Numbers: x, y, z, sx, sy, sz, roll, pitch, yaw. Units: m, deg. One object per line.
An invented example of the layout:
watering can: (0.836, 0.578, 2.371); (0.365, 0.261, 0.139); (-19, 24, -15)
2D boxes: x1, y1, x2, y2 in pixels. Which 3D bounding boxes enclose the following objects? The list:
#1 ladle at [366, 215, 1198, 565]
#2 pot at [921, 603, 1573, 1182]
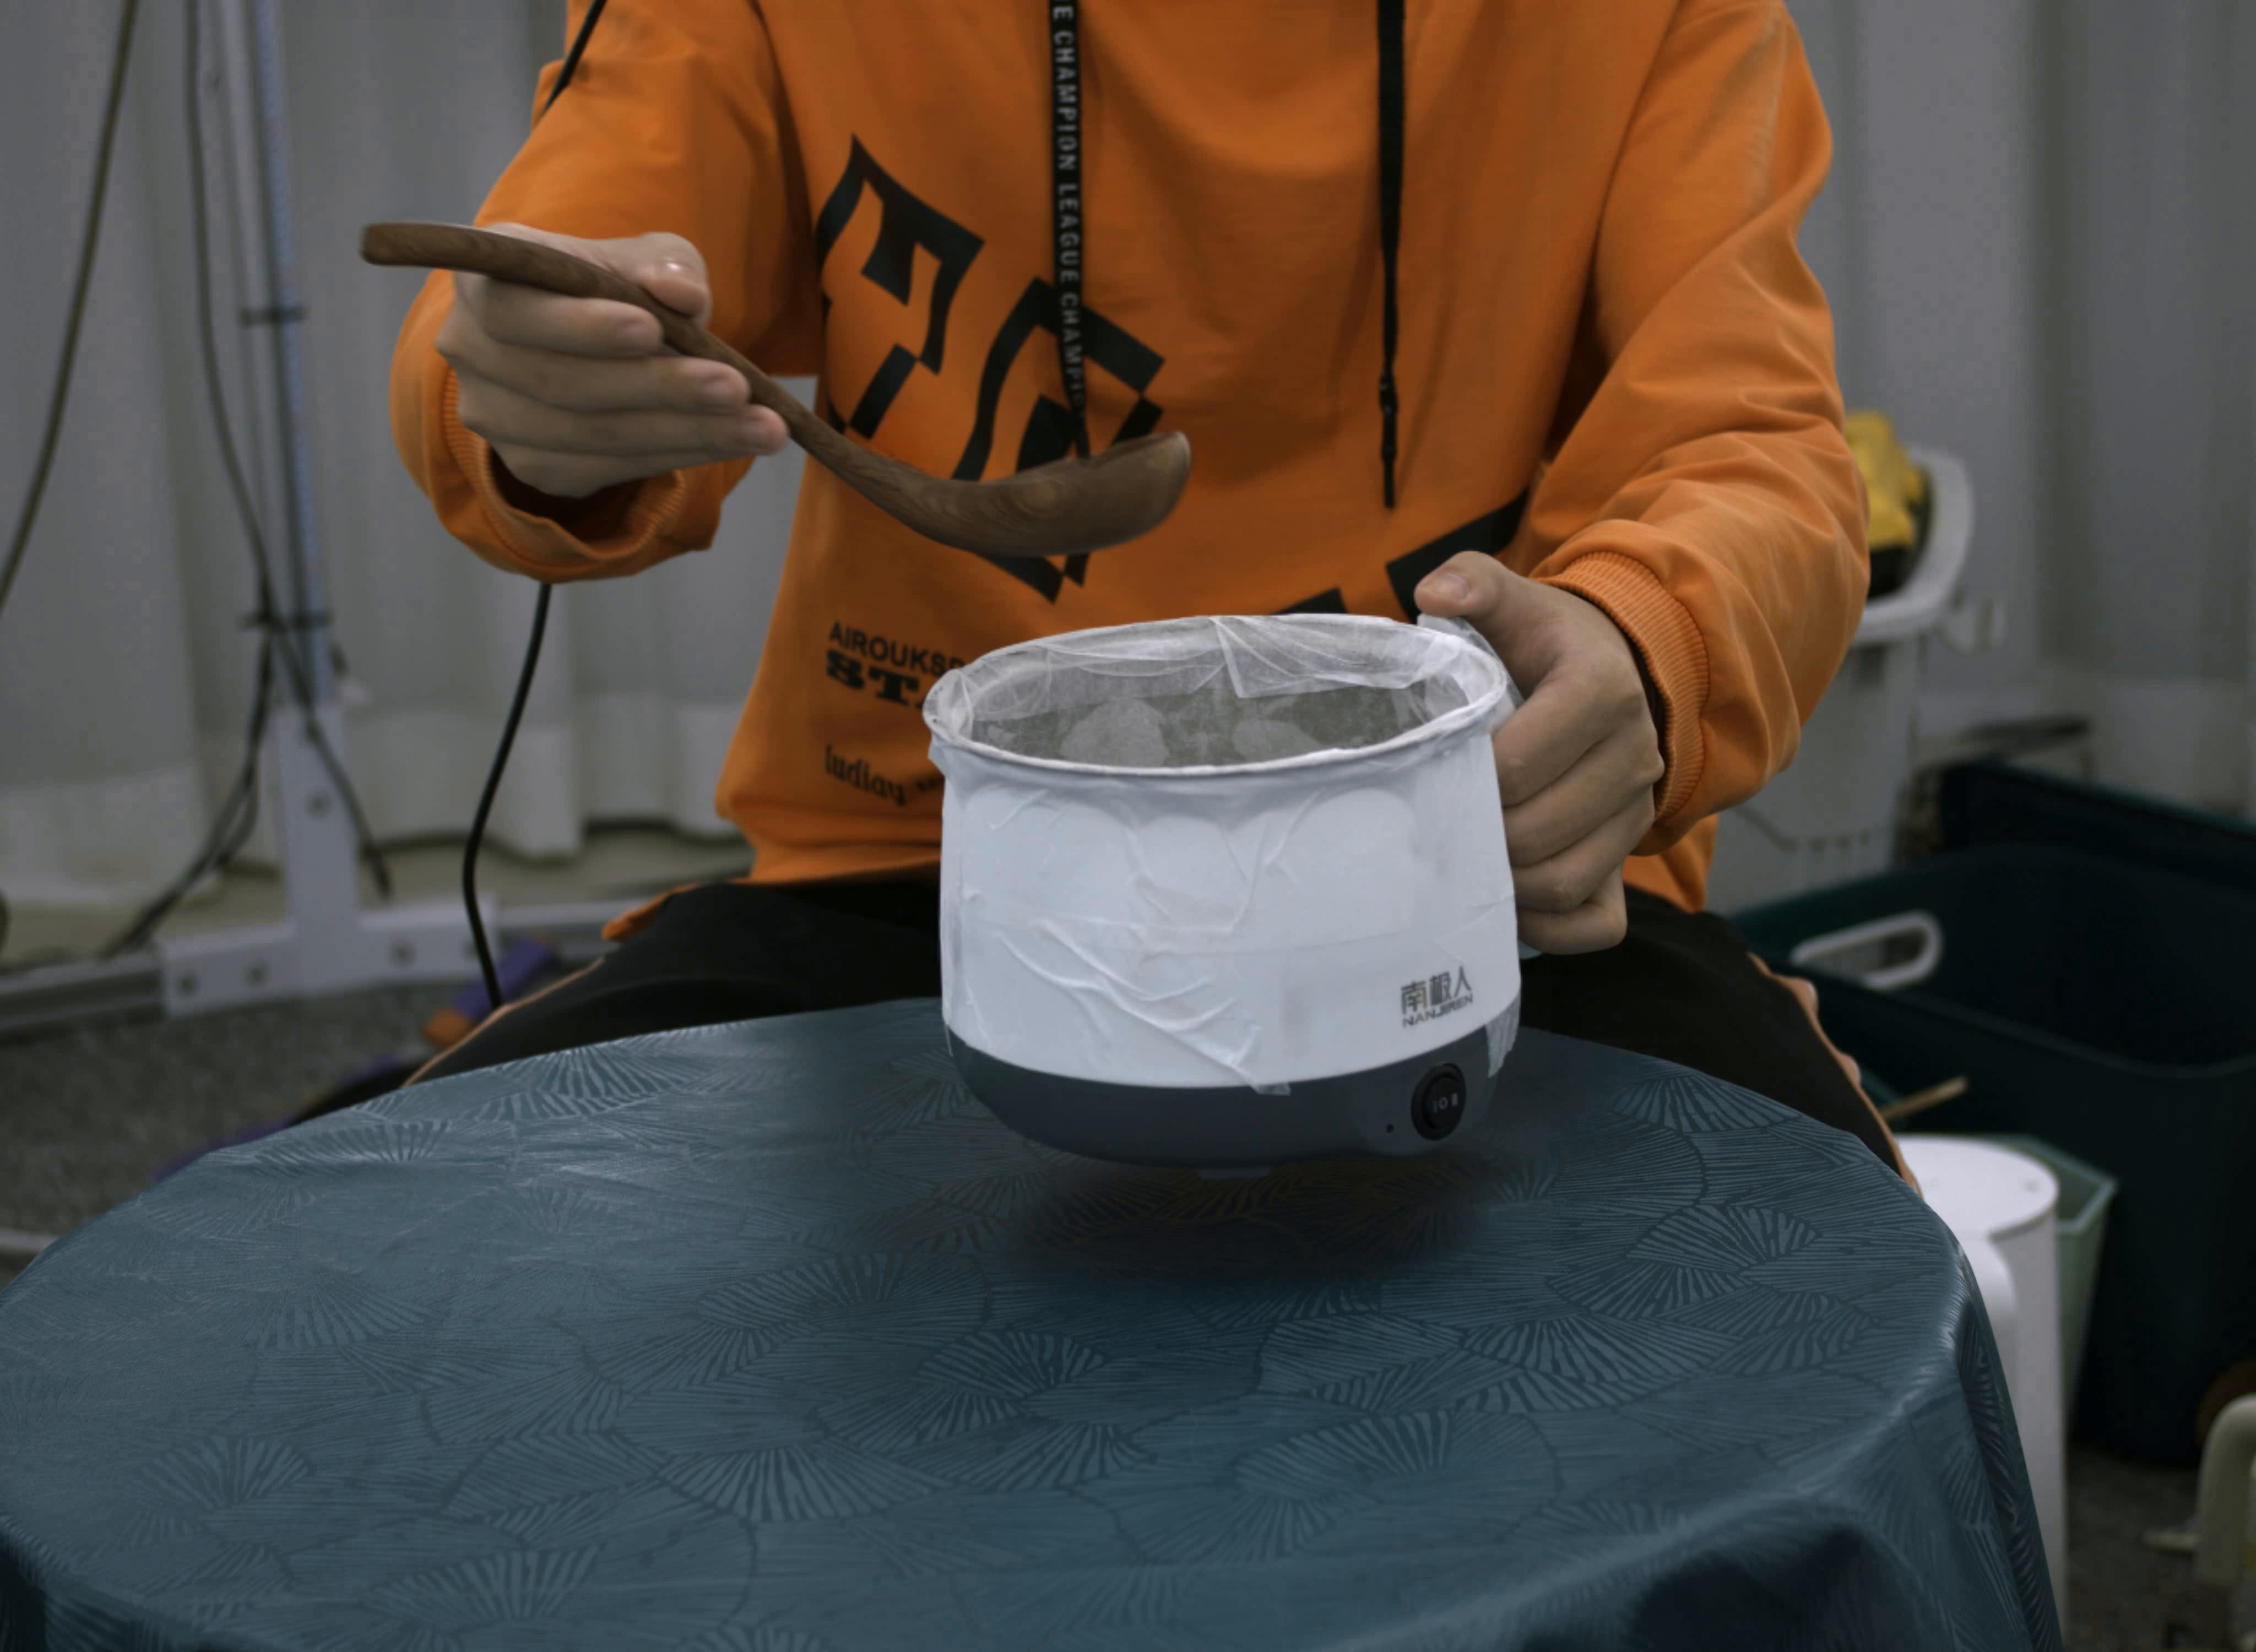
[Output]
ladle: (-0.100, -0.142, 1.642); (0.258, 0.065, 0.076); (26, -10, -14)
pot: (0.049, 0.013, 1.681); (0.180, 0.136, 0.233); (13, 23, 43)
